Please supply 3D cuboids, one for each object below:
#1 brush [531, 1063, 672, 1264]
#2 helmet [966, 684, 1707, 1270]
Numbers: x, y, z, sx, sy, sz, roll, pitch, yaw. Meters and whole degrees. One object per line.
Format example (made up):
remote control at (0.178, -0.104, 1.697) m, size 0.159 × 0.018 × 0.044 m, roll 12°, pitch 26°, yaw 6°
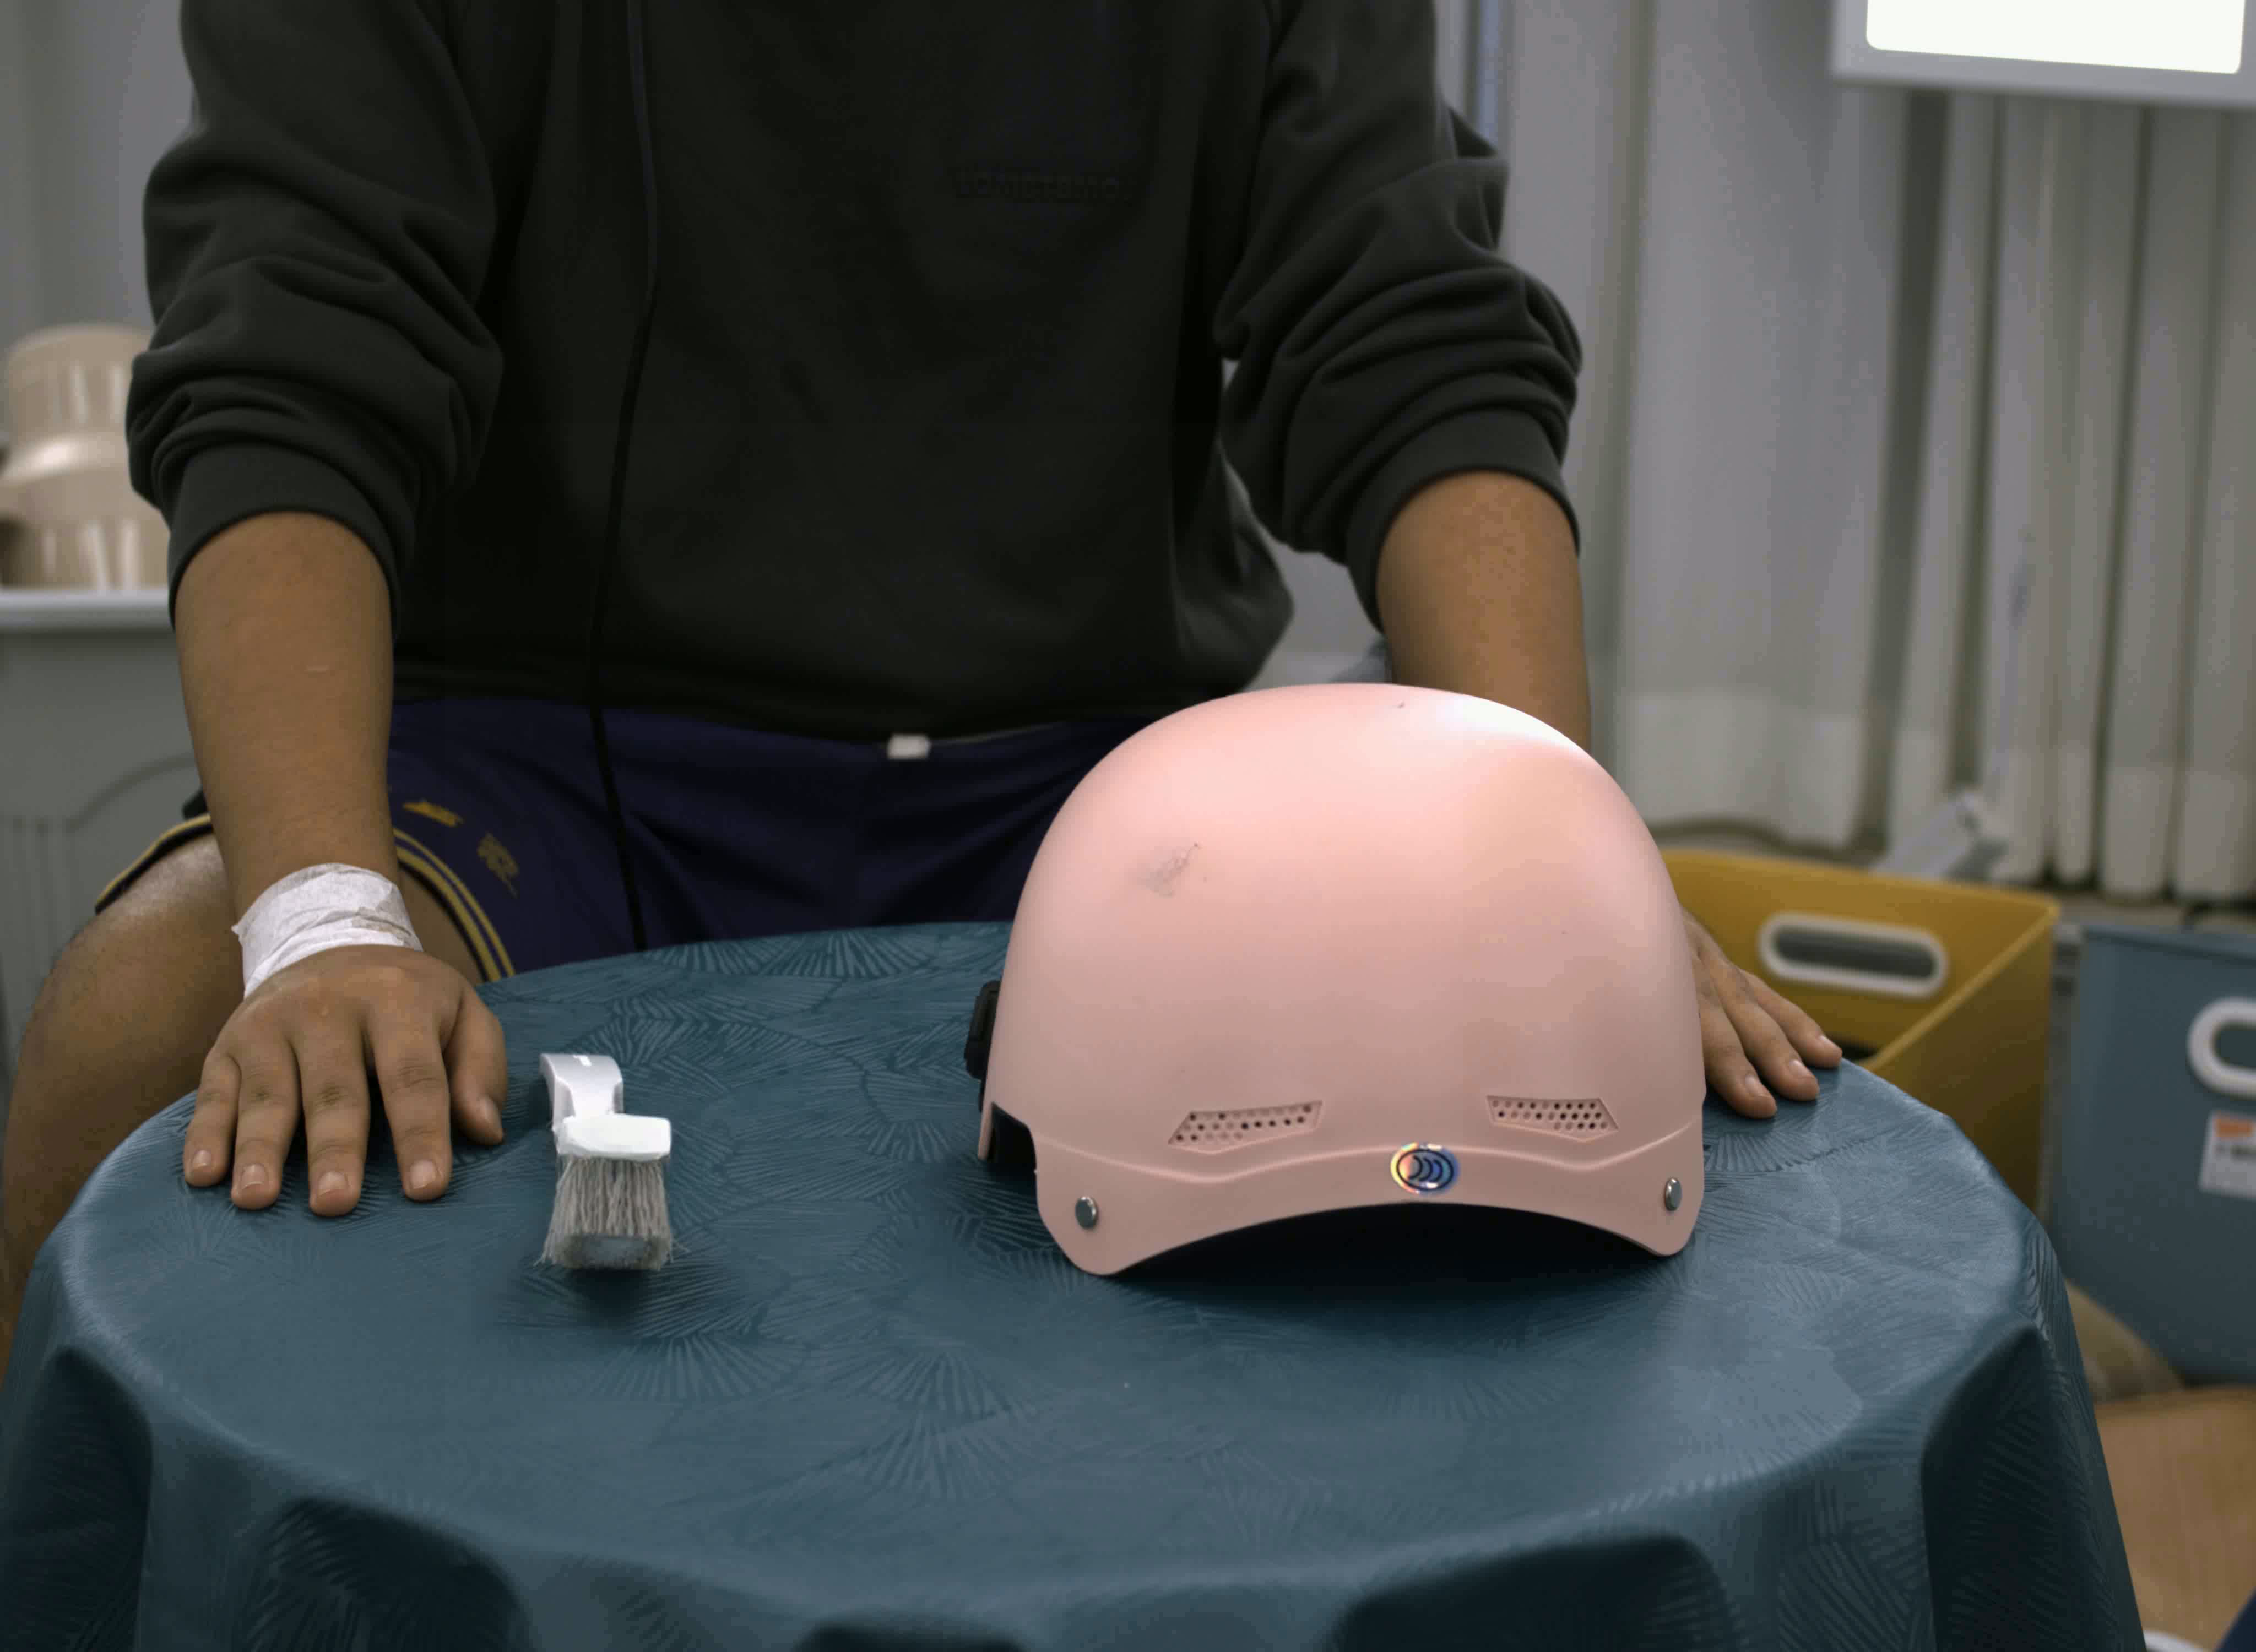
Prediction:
brush at (-0.165, 0.102, 1.611) m, size 0.034 × 0.050 × 0.242 m, roll 2°, pitch 1°, yaw -10°
helmet at (0.066, 0.034, 1.627) m, size 0.234 × 0.160 × 0.264 m, roll -2°, pitch 12°, yaw -7°
